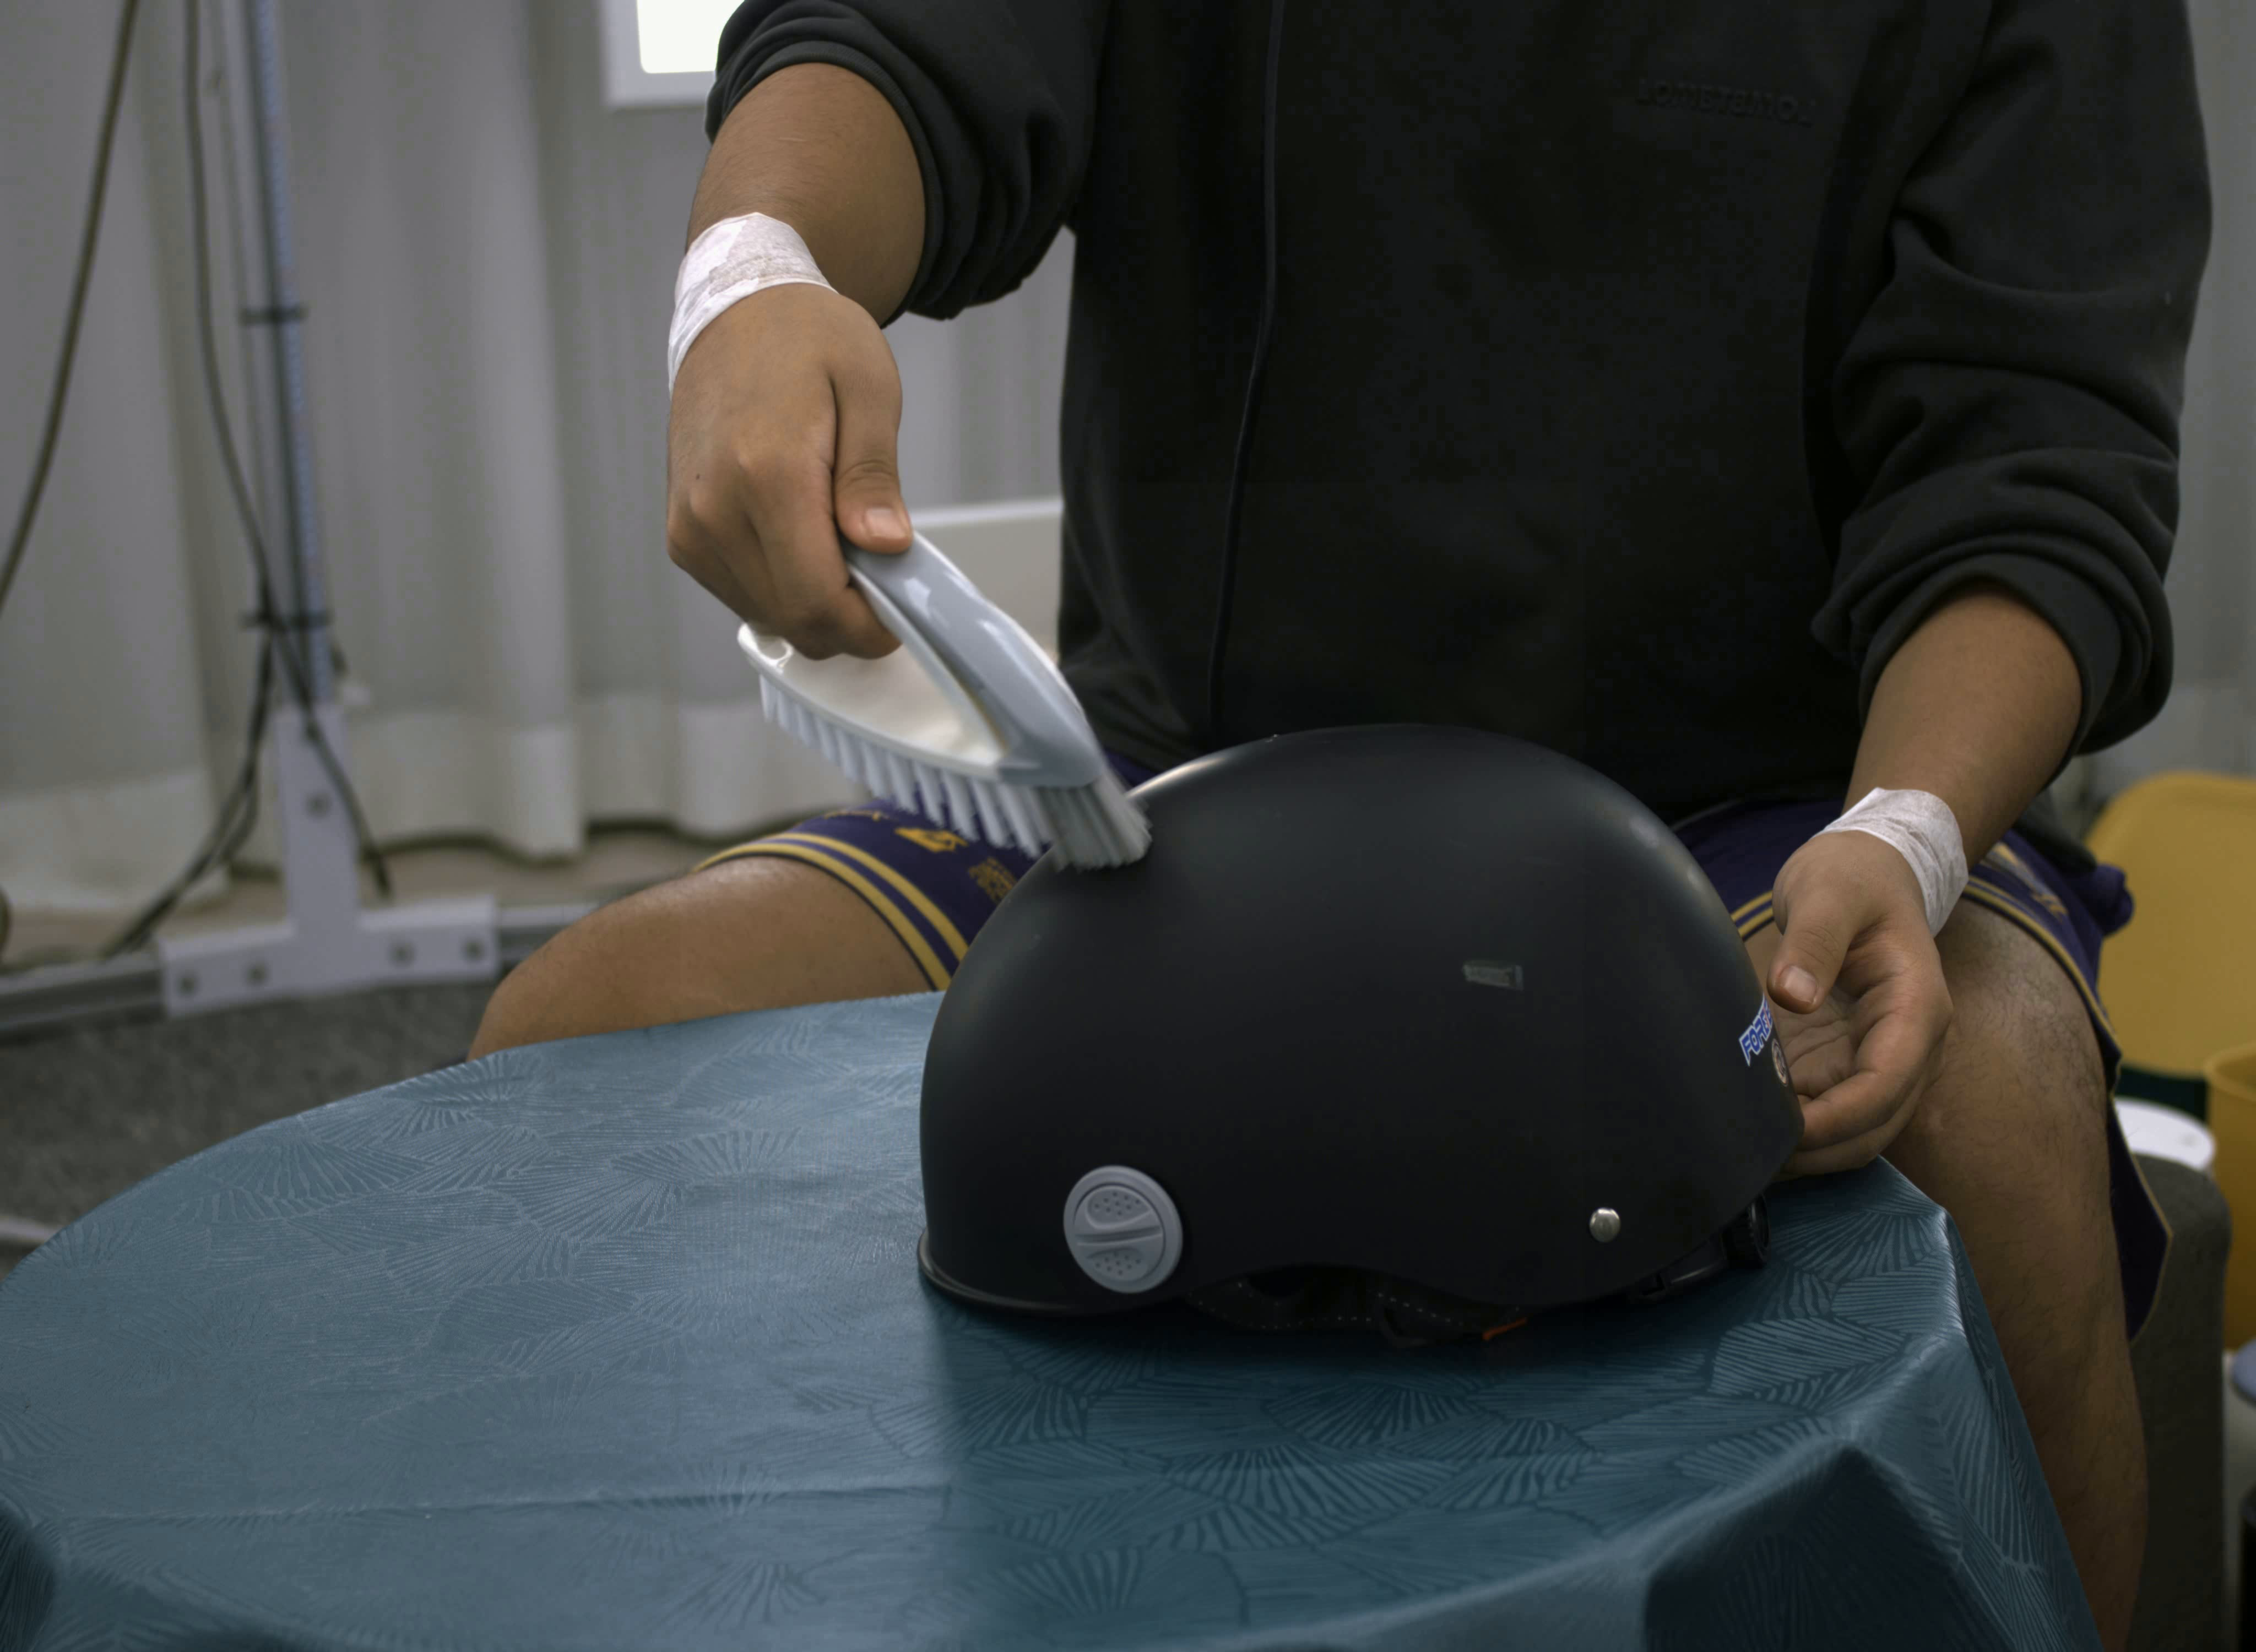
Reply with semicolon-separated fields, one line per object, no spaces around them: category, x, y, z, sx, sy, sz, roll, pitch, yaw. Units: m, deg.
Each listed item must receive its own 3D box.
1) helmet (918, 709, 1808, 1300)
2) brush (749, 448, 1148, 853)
helmet;0.065;0.050;1.638;0.273;0.166;0.231;0;14;19
brush;-0.056;-0.058;1.630;0.061;0.093;0.177;-35;41;-16
